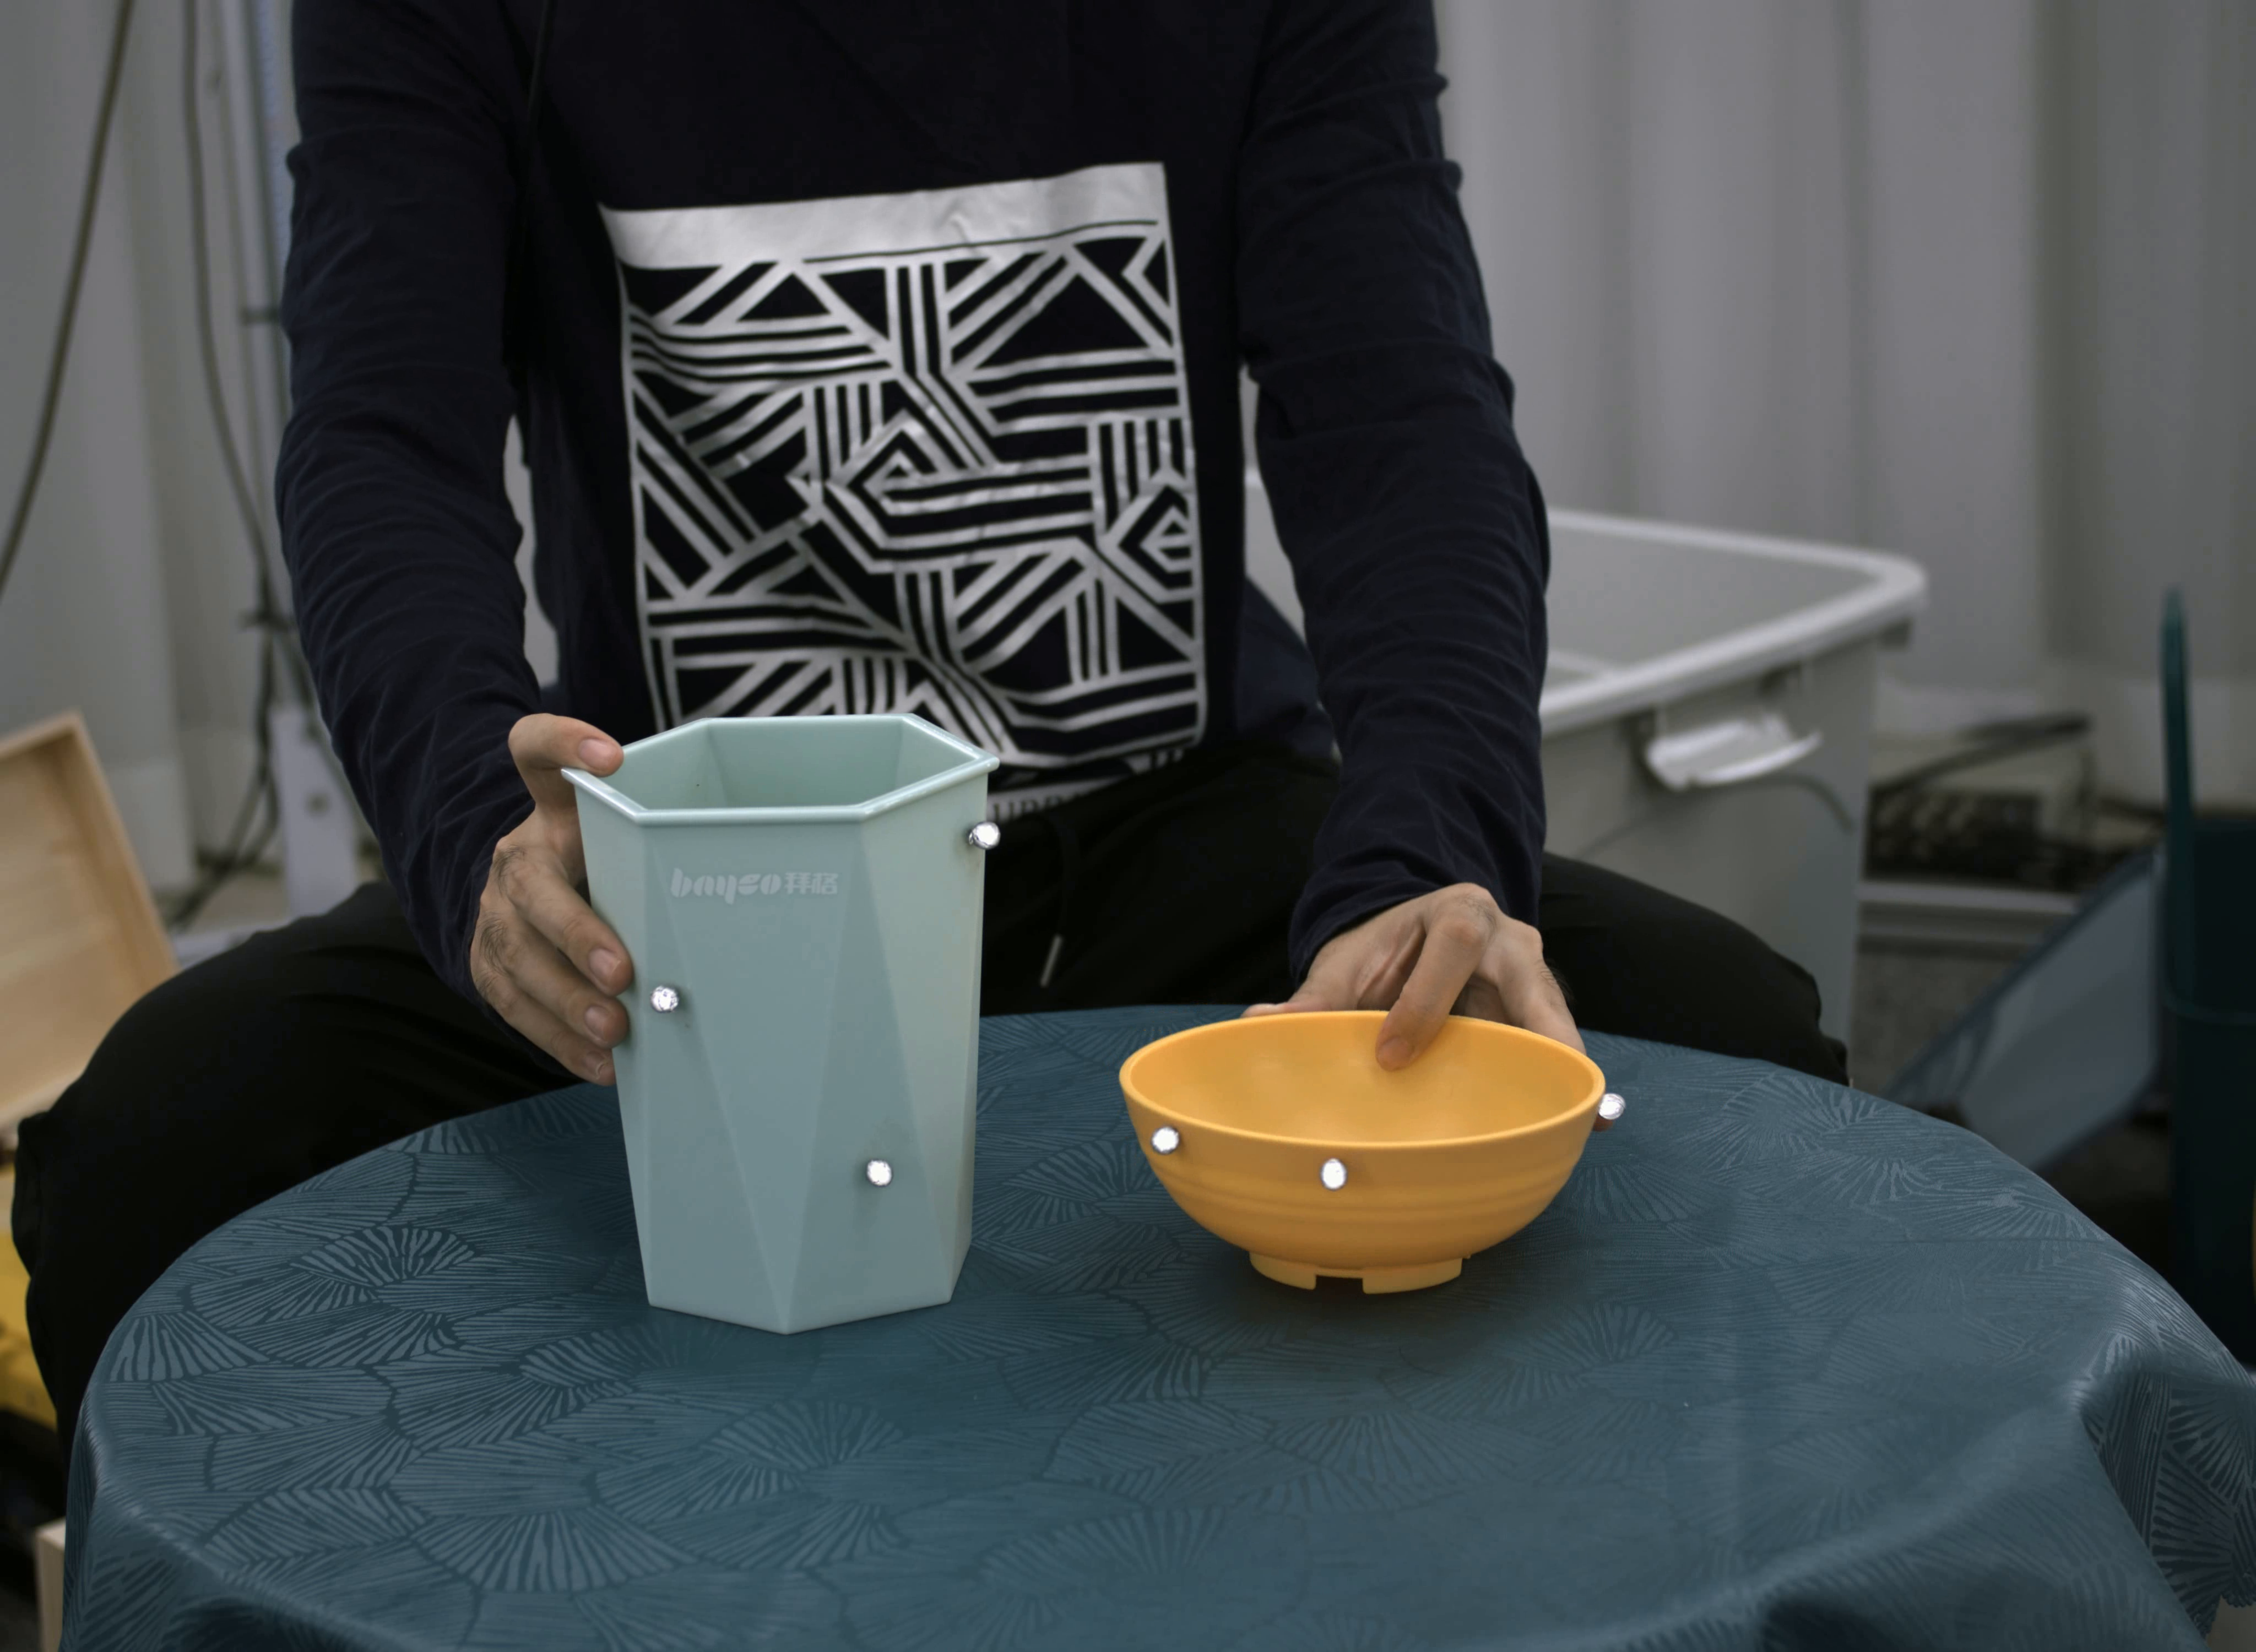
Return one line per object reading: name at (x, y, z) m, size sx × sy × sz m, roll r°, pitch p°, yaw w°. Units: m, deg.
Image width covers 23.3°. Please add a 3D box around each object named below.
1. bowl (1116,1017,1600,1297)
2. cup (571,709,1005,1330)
bowl at (0.067, 0.104, 1.633) m, size 0.145 × 0.060 × 0.146 m, roll 2°, pitch 12°, yaw -1°
cup at (-0.098, 0.057, 1.634) m, size 0.130 × 0.162 × 0.116 m, roll -1°, pitch 13°, yaw 4°
